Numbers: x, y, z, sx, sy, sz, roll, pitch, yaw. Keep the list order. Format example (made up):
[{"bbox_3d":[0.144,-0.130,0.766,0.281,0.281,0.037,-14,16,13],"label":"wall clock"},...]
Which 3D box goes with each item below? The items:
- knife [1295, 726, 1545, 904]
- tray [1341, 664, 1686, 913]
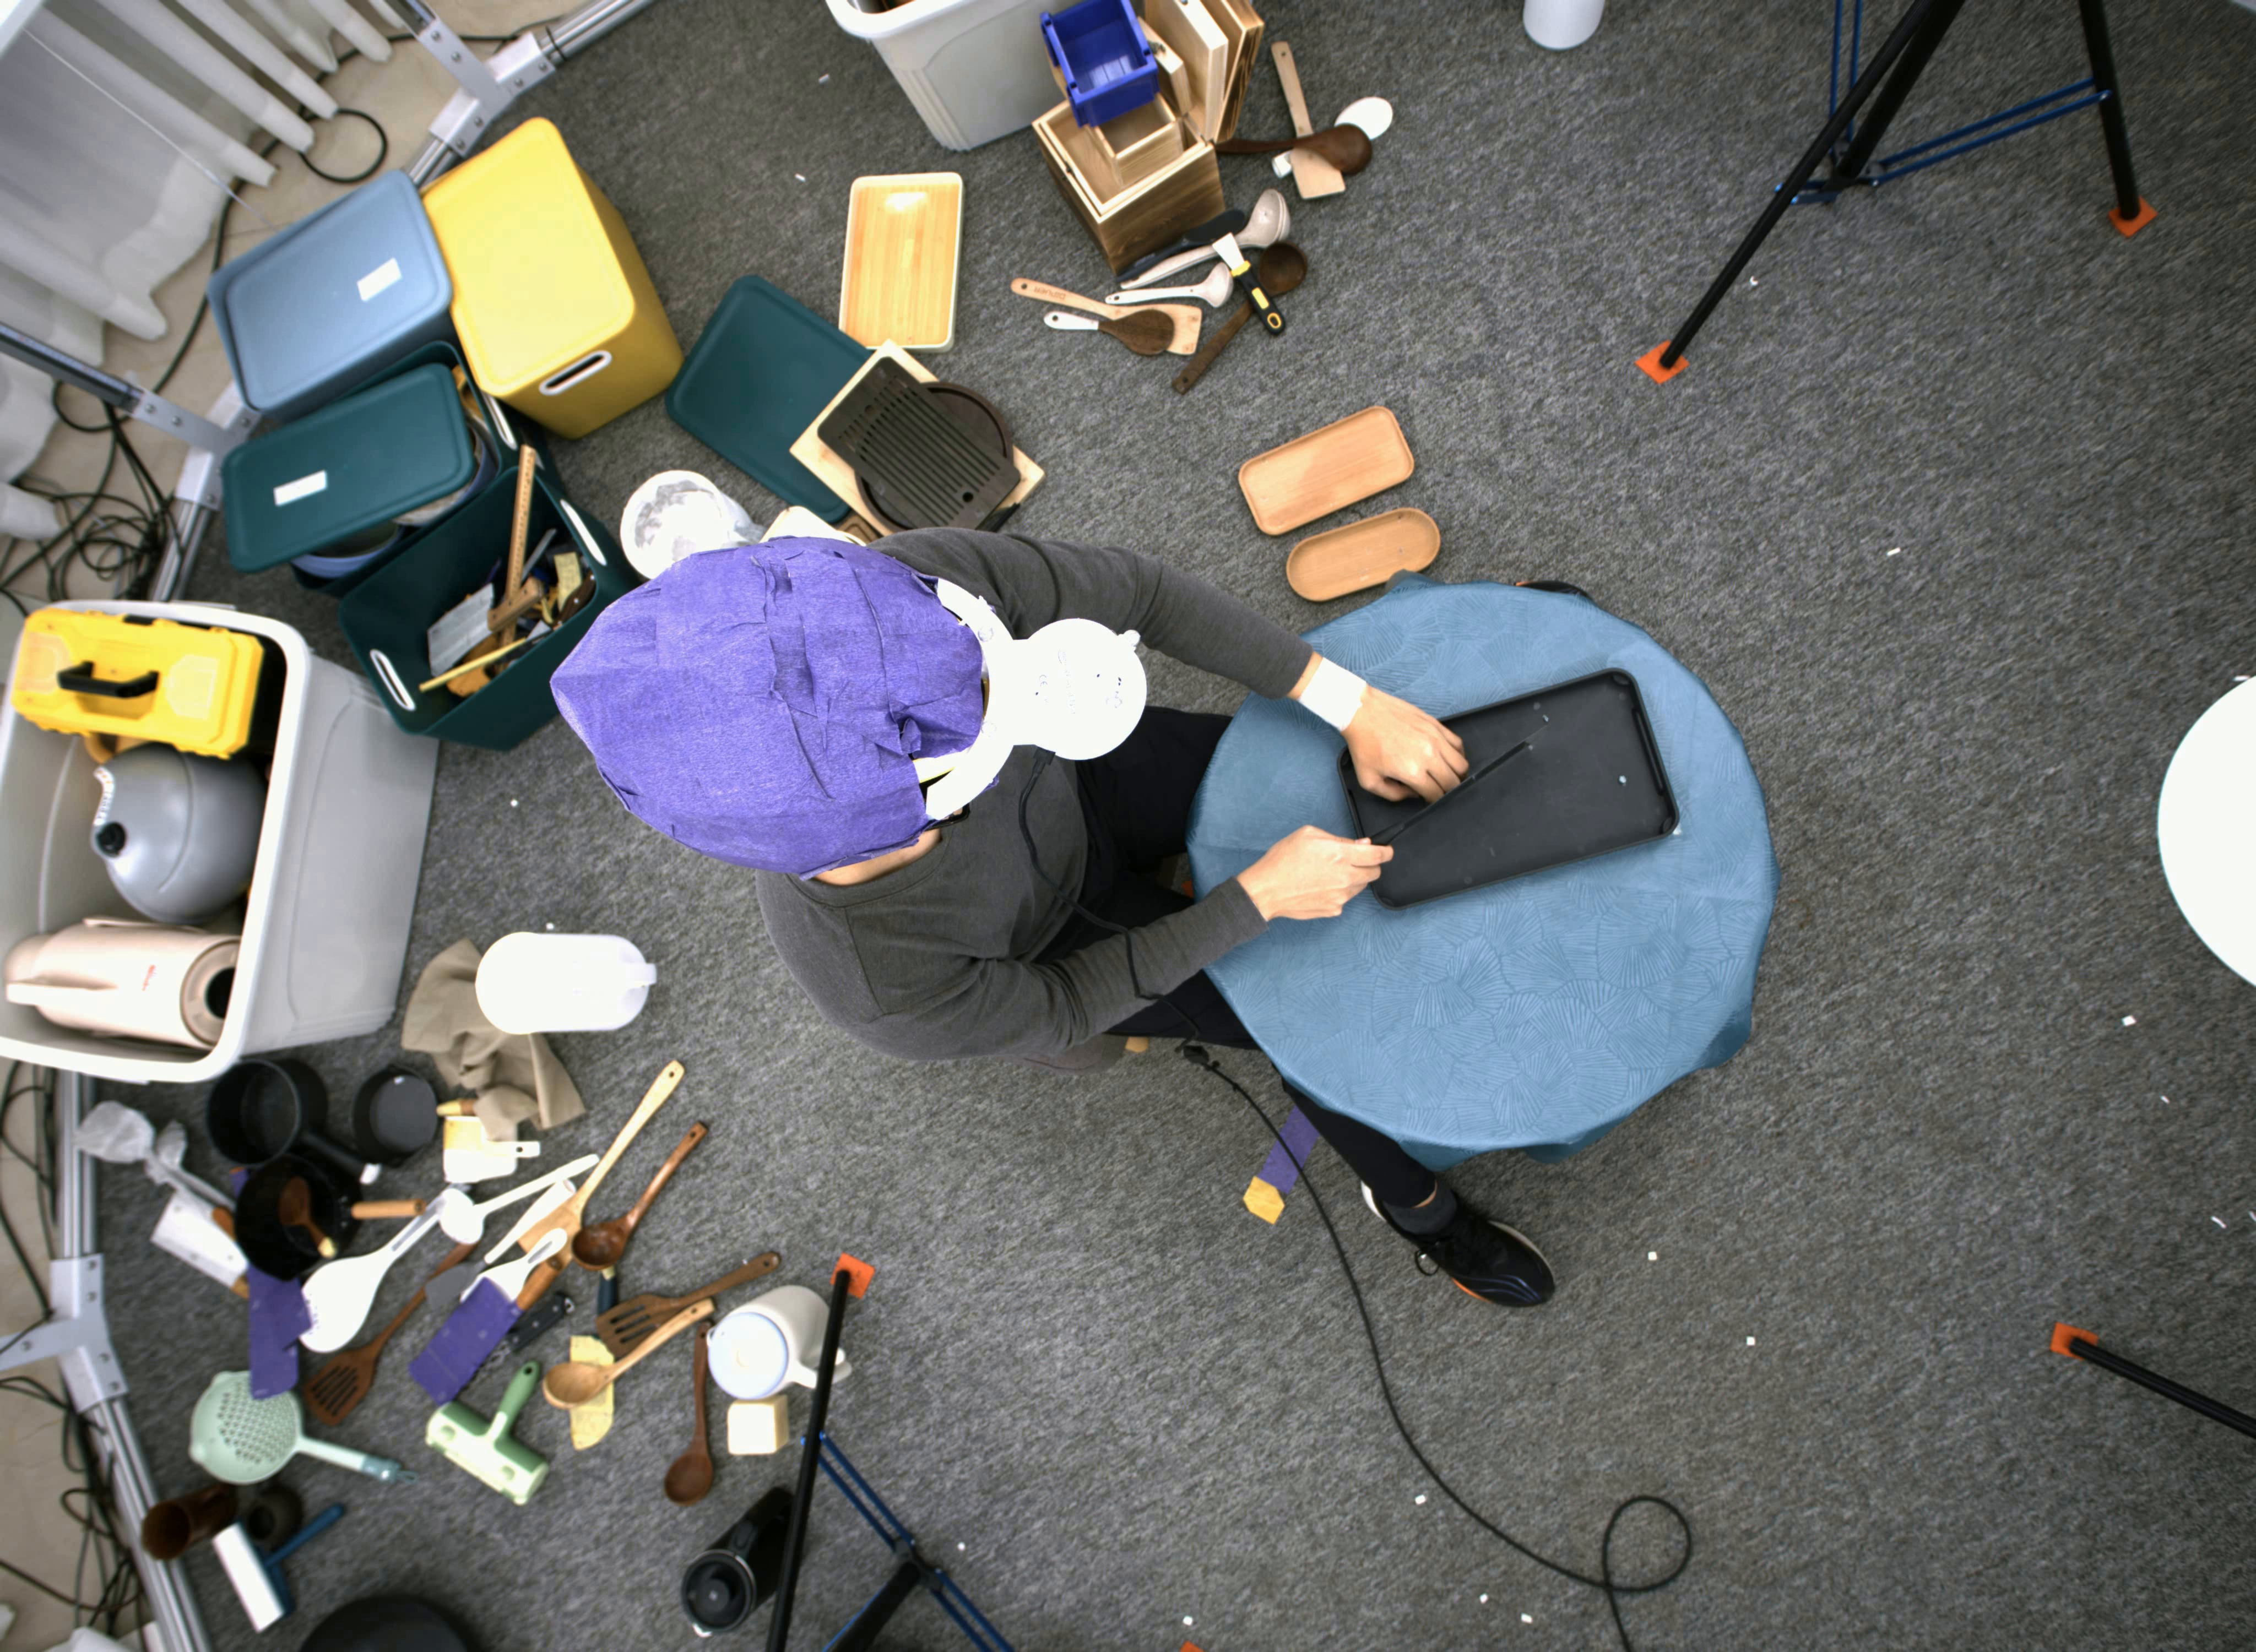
[{"bbox_3d":[0.298,-0.013,1.399,0.303,0.081,0.020,-34,77,4],"label":"knife"},{"bbox_3d":[0.395,-0.039,1.424,0.320,0.037,0.183,-18,83,9],"label":"tray"}]
